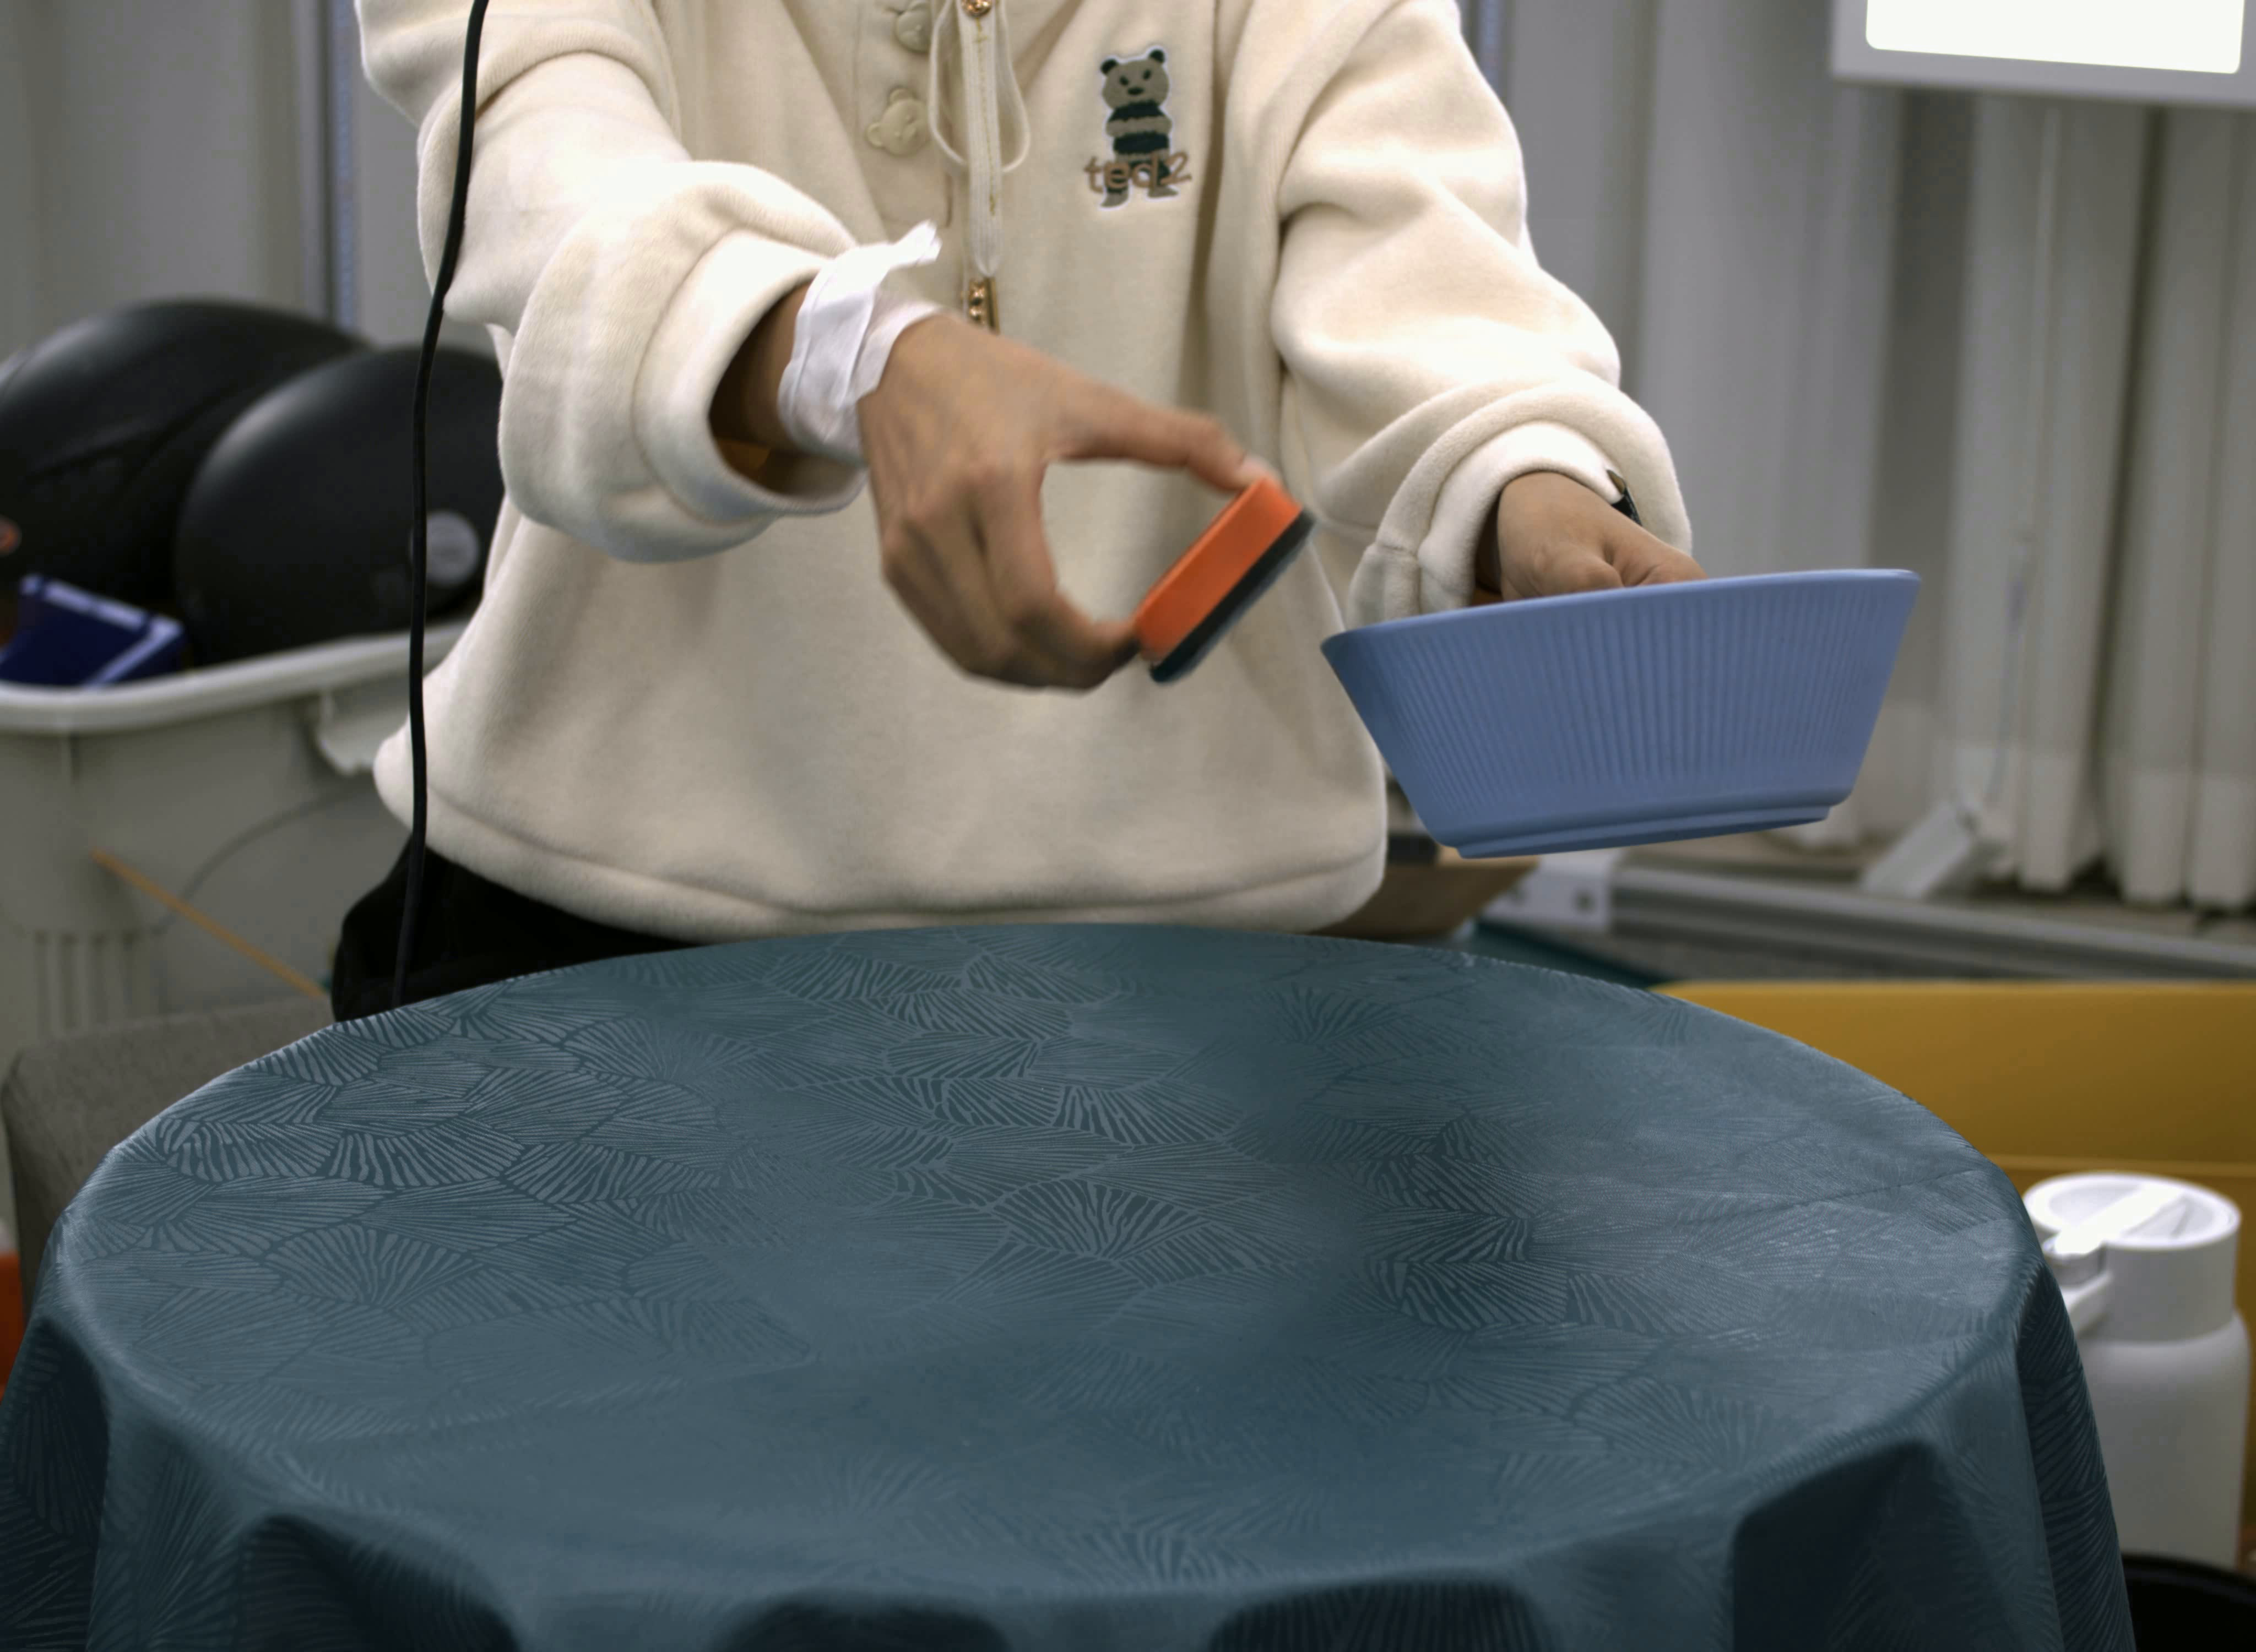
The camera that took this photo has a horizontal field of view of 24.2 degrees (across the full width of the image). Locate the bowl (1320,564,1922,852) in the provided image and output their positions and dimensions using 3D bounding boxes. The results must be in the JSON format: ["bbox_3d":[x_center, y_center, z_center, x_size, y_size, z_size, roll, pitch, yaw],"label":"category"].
[{"bbox_3d":[0.146,-0.032,1.528,0.175,0.070,0.176,-6,-2,0],"label":"bowl"}]

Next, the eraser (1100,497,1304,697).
[{"bbox_3d":[0.020,-0.065,1.521,0.023,0.059,0.108,41,-2,-3],"label":"eraser"}]
